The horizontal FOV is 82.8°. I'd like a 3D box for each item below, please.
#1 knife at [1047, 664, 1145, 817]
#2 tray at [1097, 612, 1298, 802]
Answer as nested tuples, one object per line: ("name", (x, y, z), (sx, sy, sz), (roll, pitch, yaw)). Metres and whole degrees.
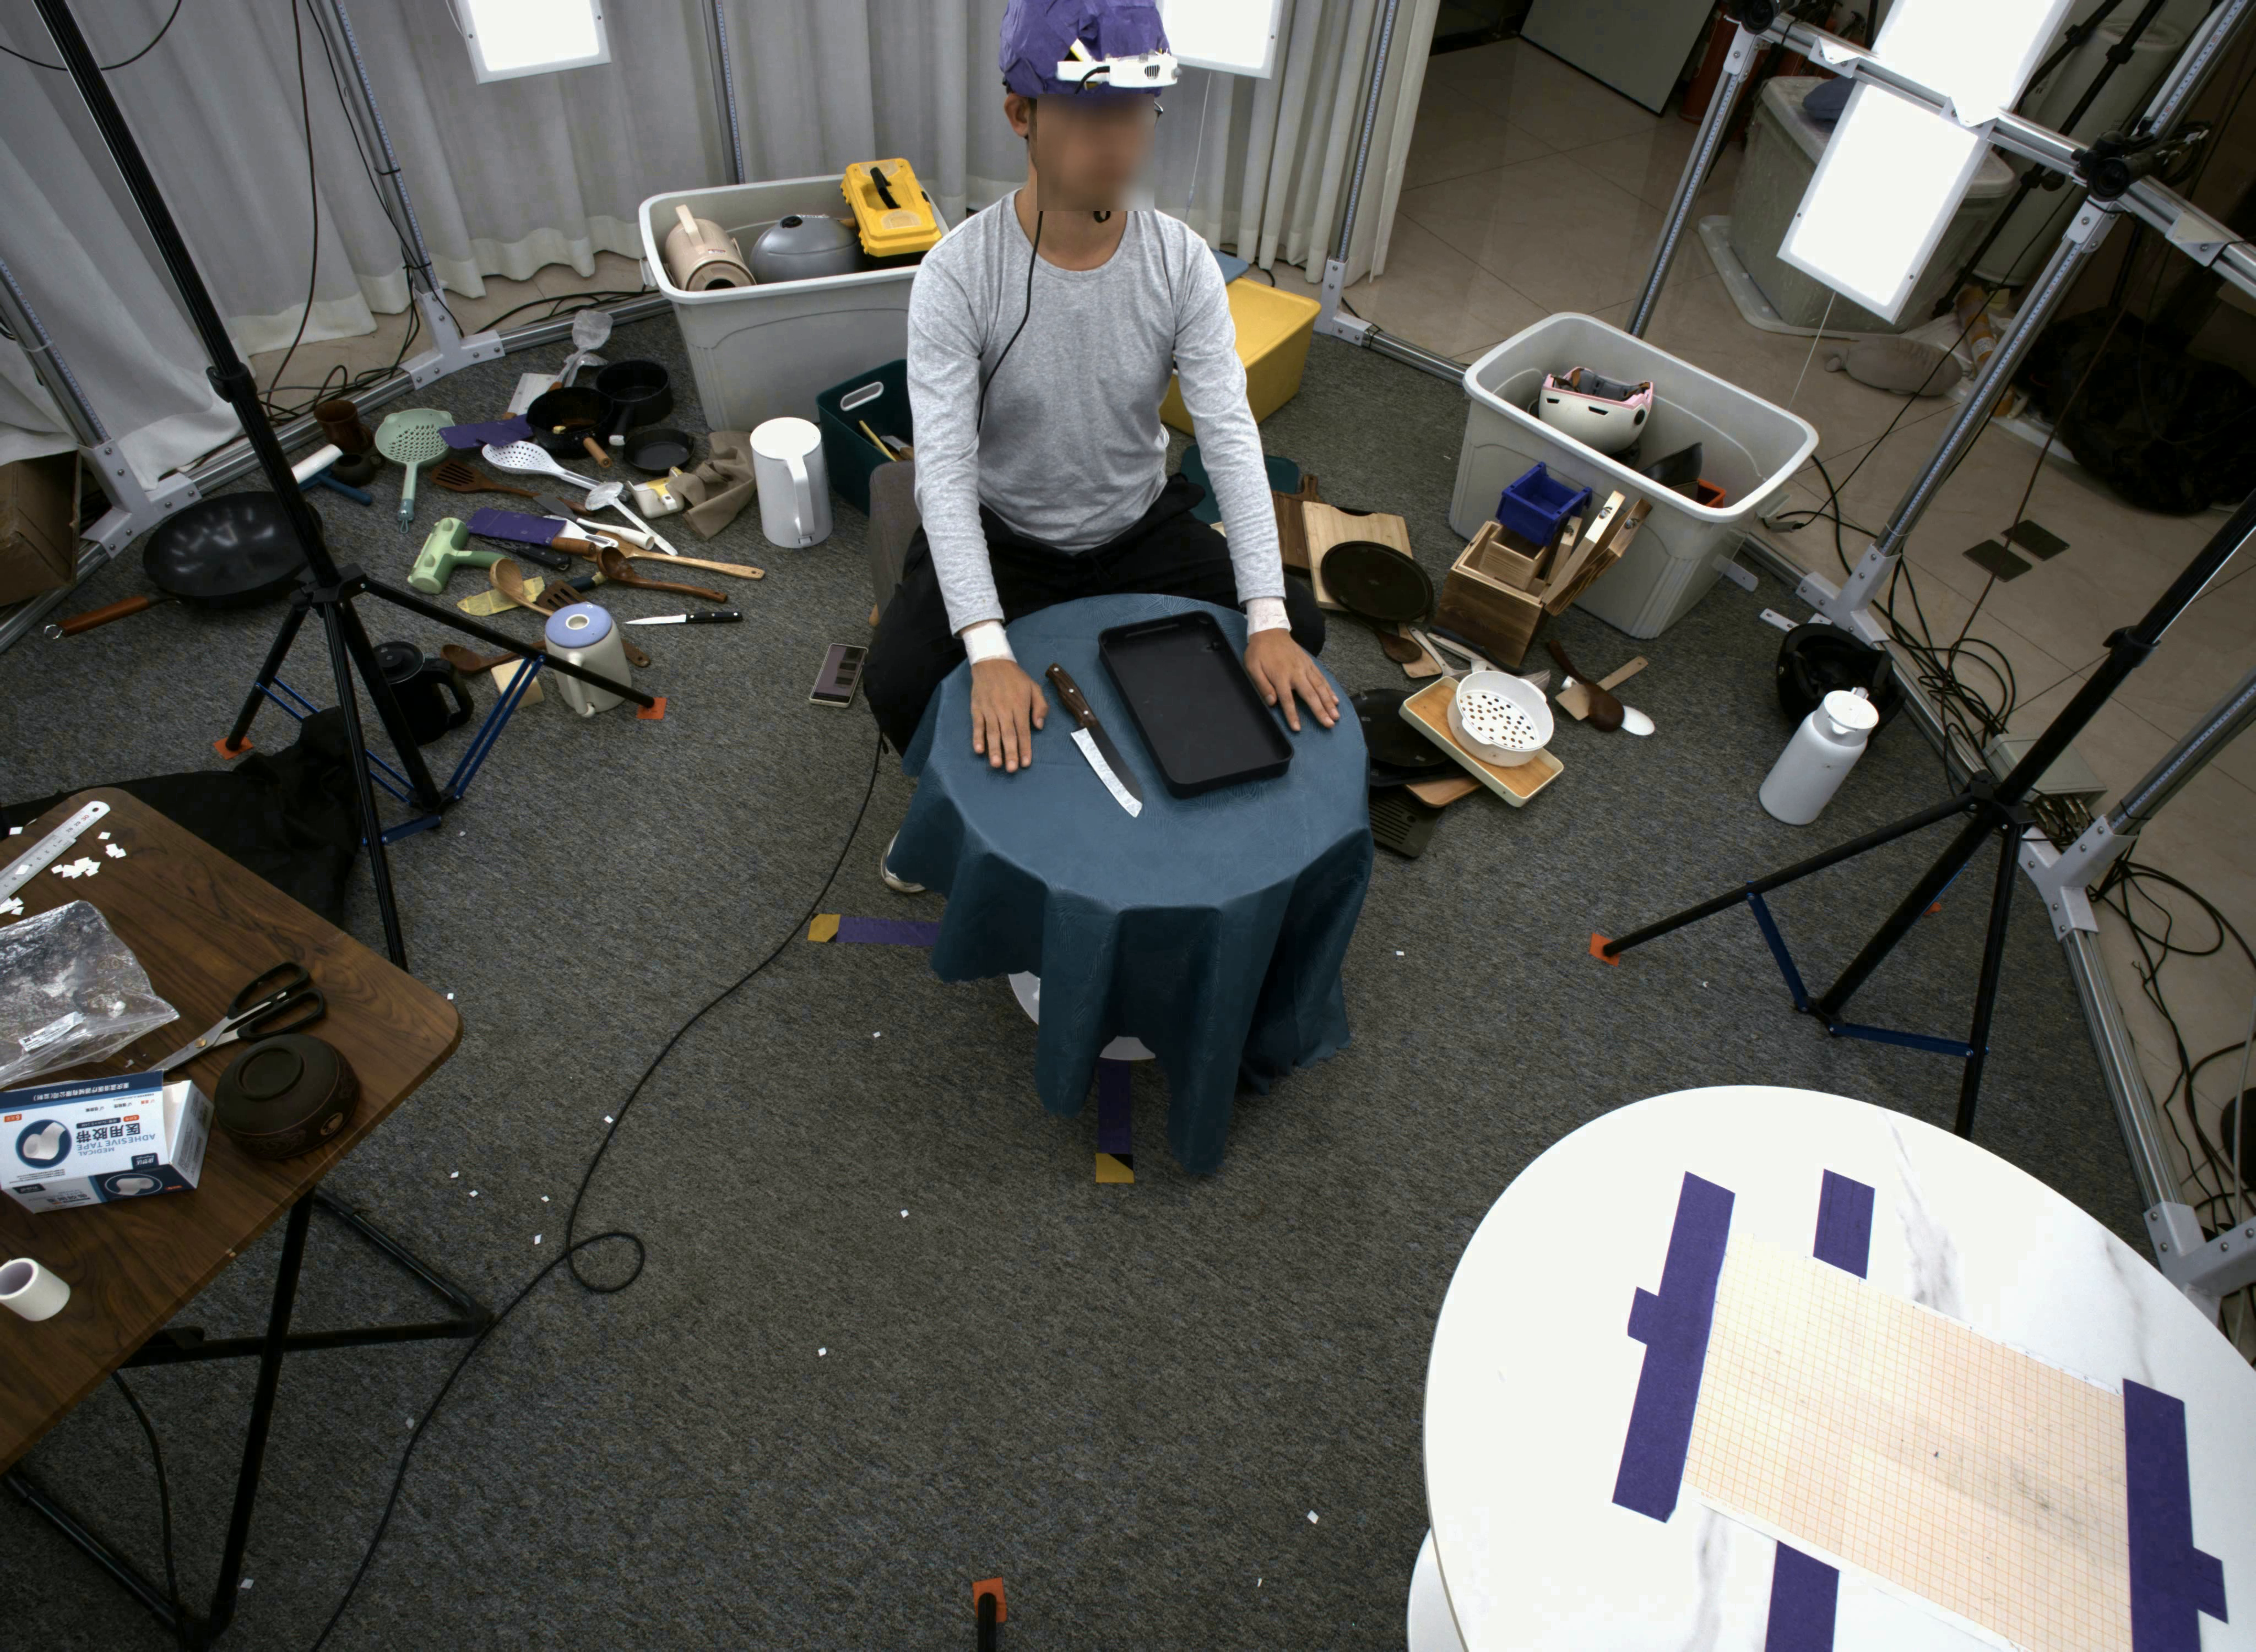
("knife", (-0.047, -0.120, 1.759), (0.050, 0.019, 0.295), (-20, 56, -14))
("tray", (0.091, -0.173, 1.801), (0.184, 0.036, 0.325), (-15, 51, -16))
